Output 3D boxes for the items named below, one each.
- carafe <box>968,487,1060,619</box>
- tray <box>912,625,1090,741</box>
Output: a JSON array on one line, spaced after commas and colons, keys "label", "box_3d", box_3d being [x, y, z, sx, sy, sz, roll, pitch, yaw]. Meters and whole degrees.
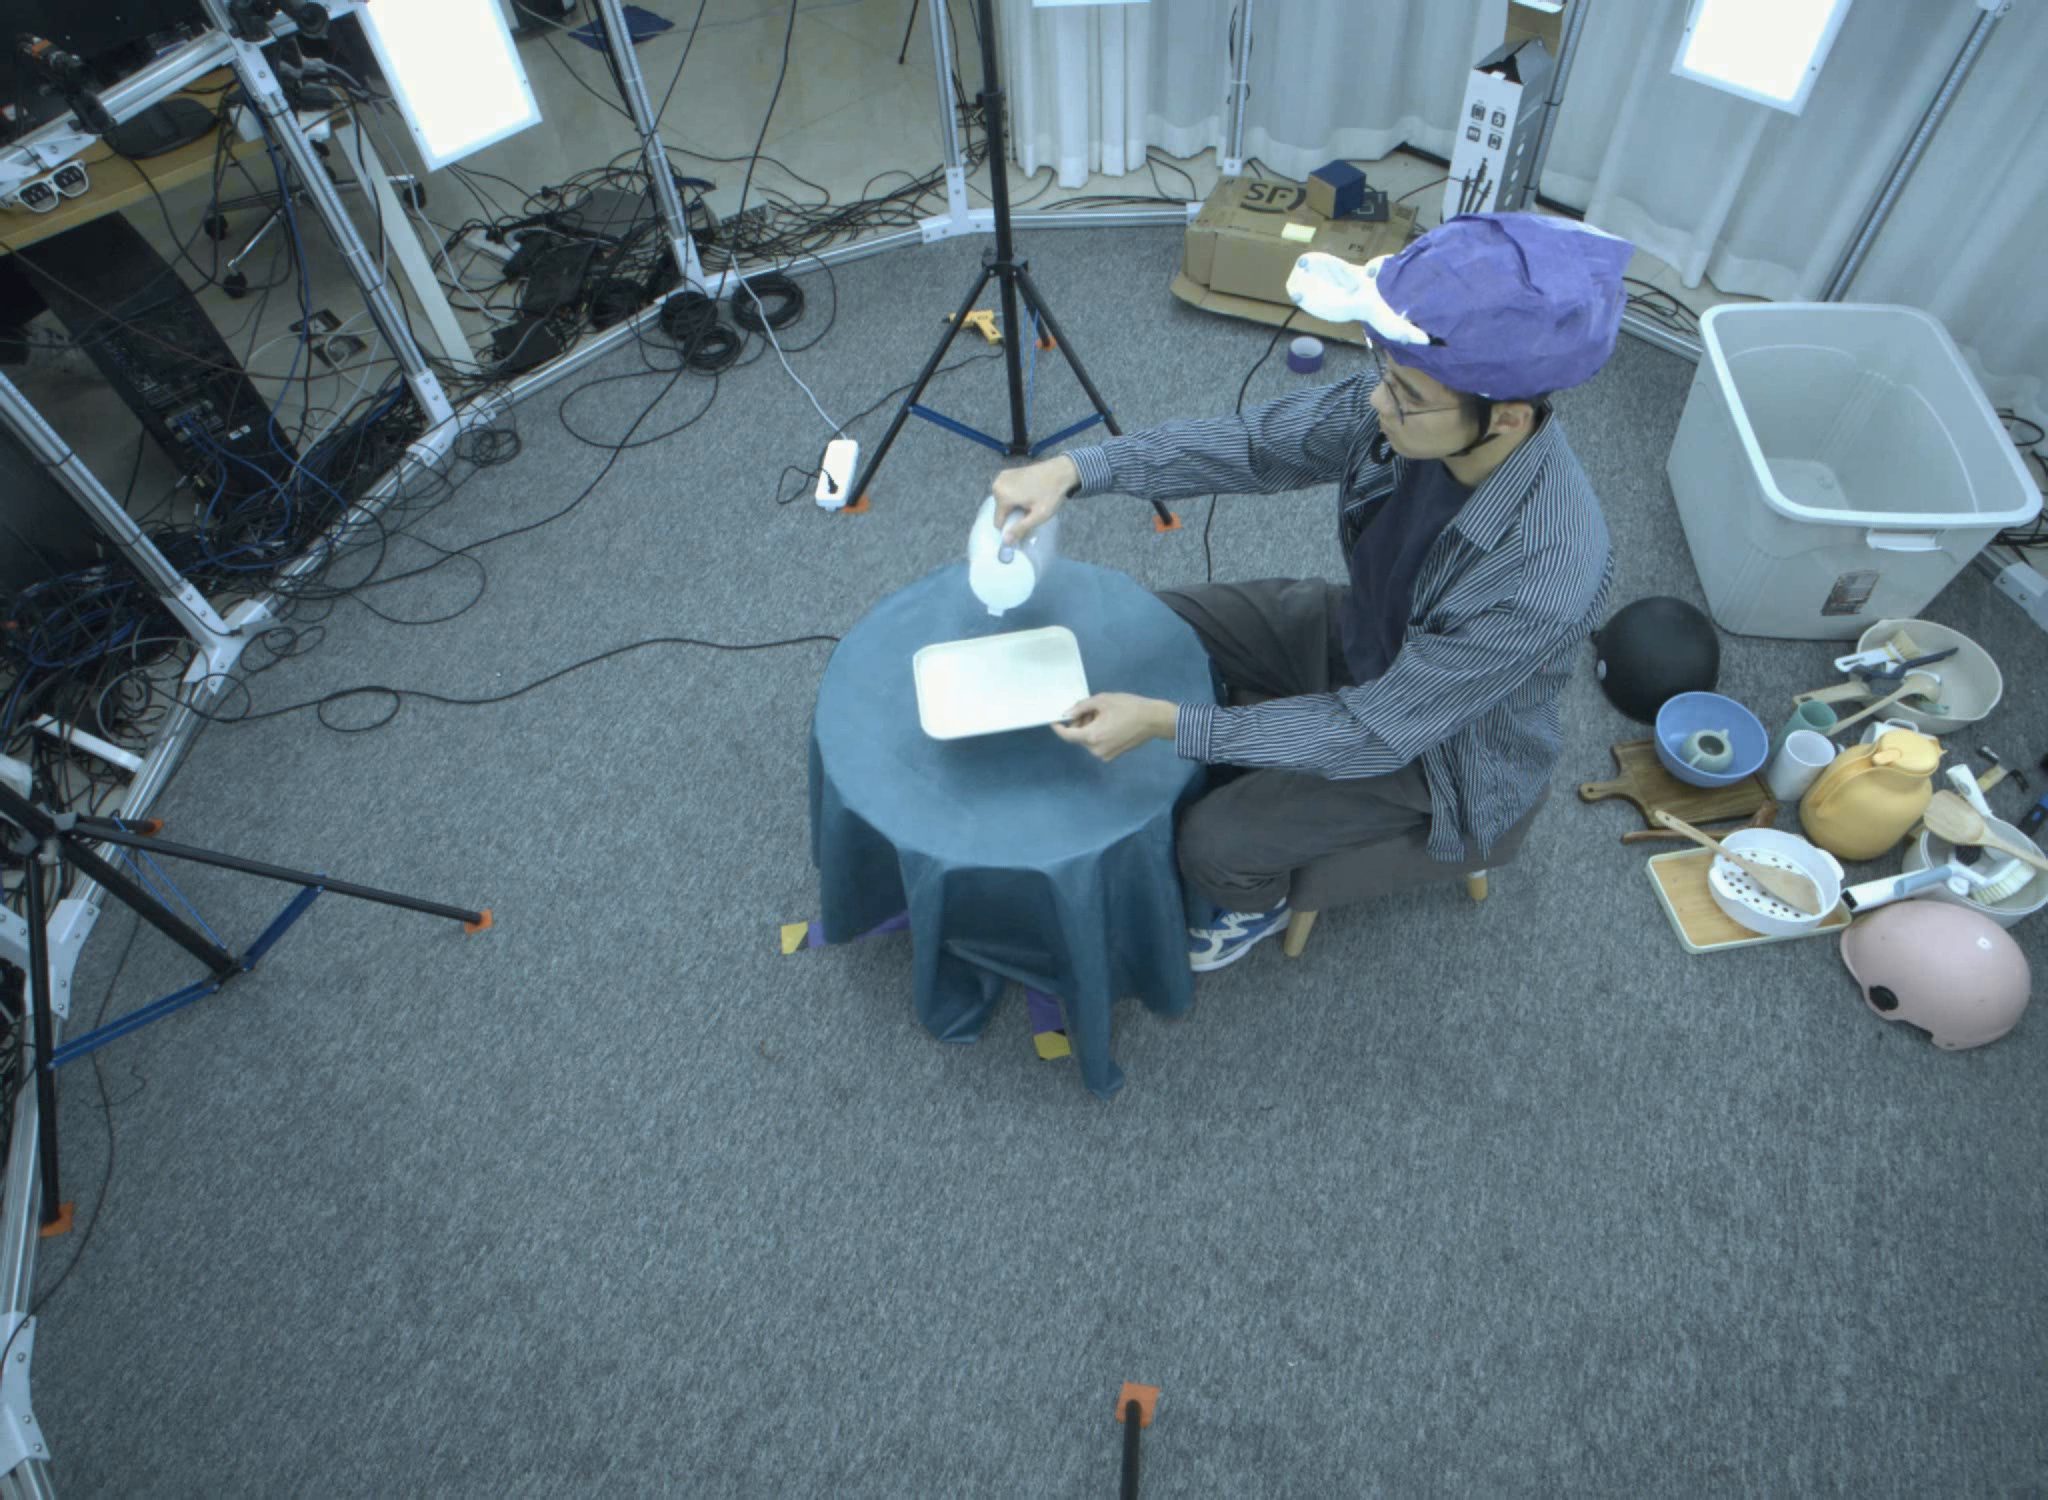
[{"label": "carafe", "box_3d": [-0.020, -0.303, 1.781, 0.132, 0.169, 0.247, 8, 28, 1]}, {"label": "tray", "box_3d": [-0.034, -0.095, 1.750, 0.240, 0.017, 0.169, -9, 57, -5]}]
